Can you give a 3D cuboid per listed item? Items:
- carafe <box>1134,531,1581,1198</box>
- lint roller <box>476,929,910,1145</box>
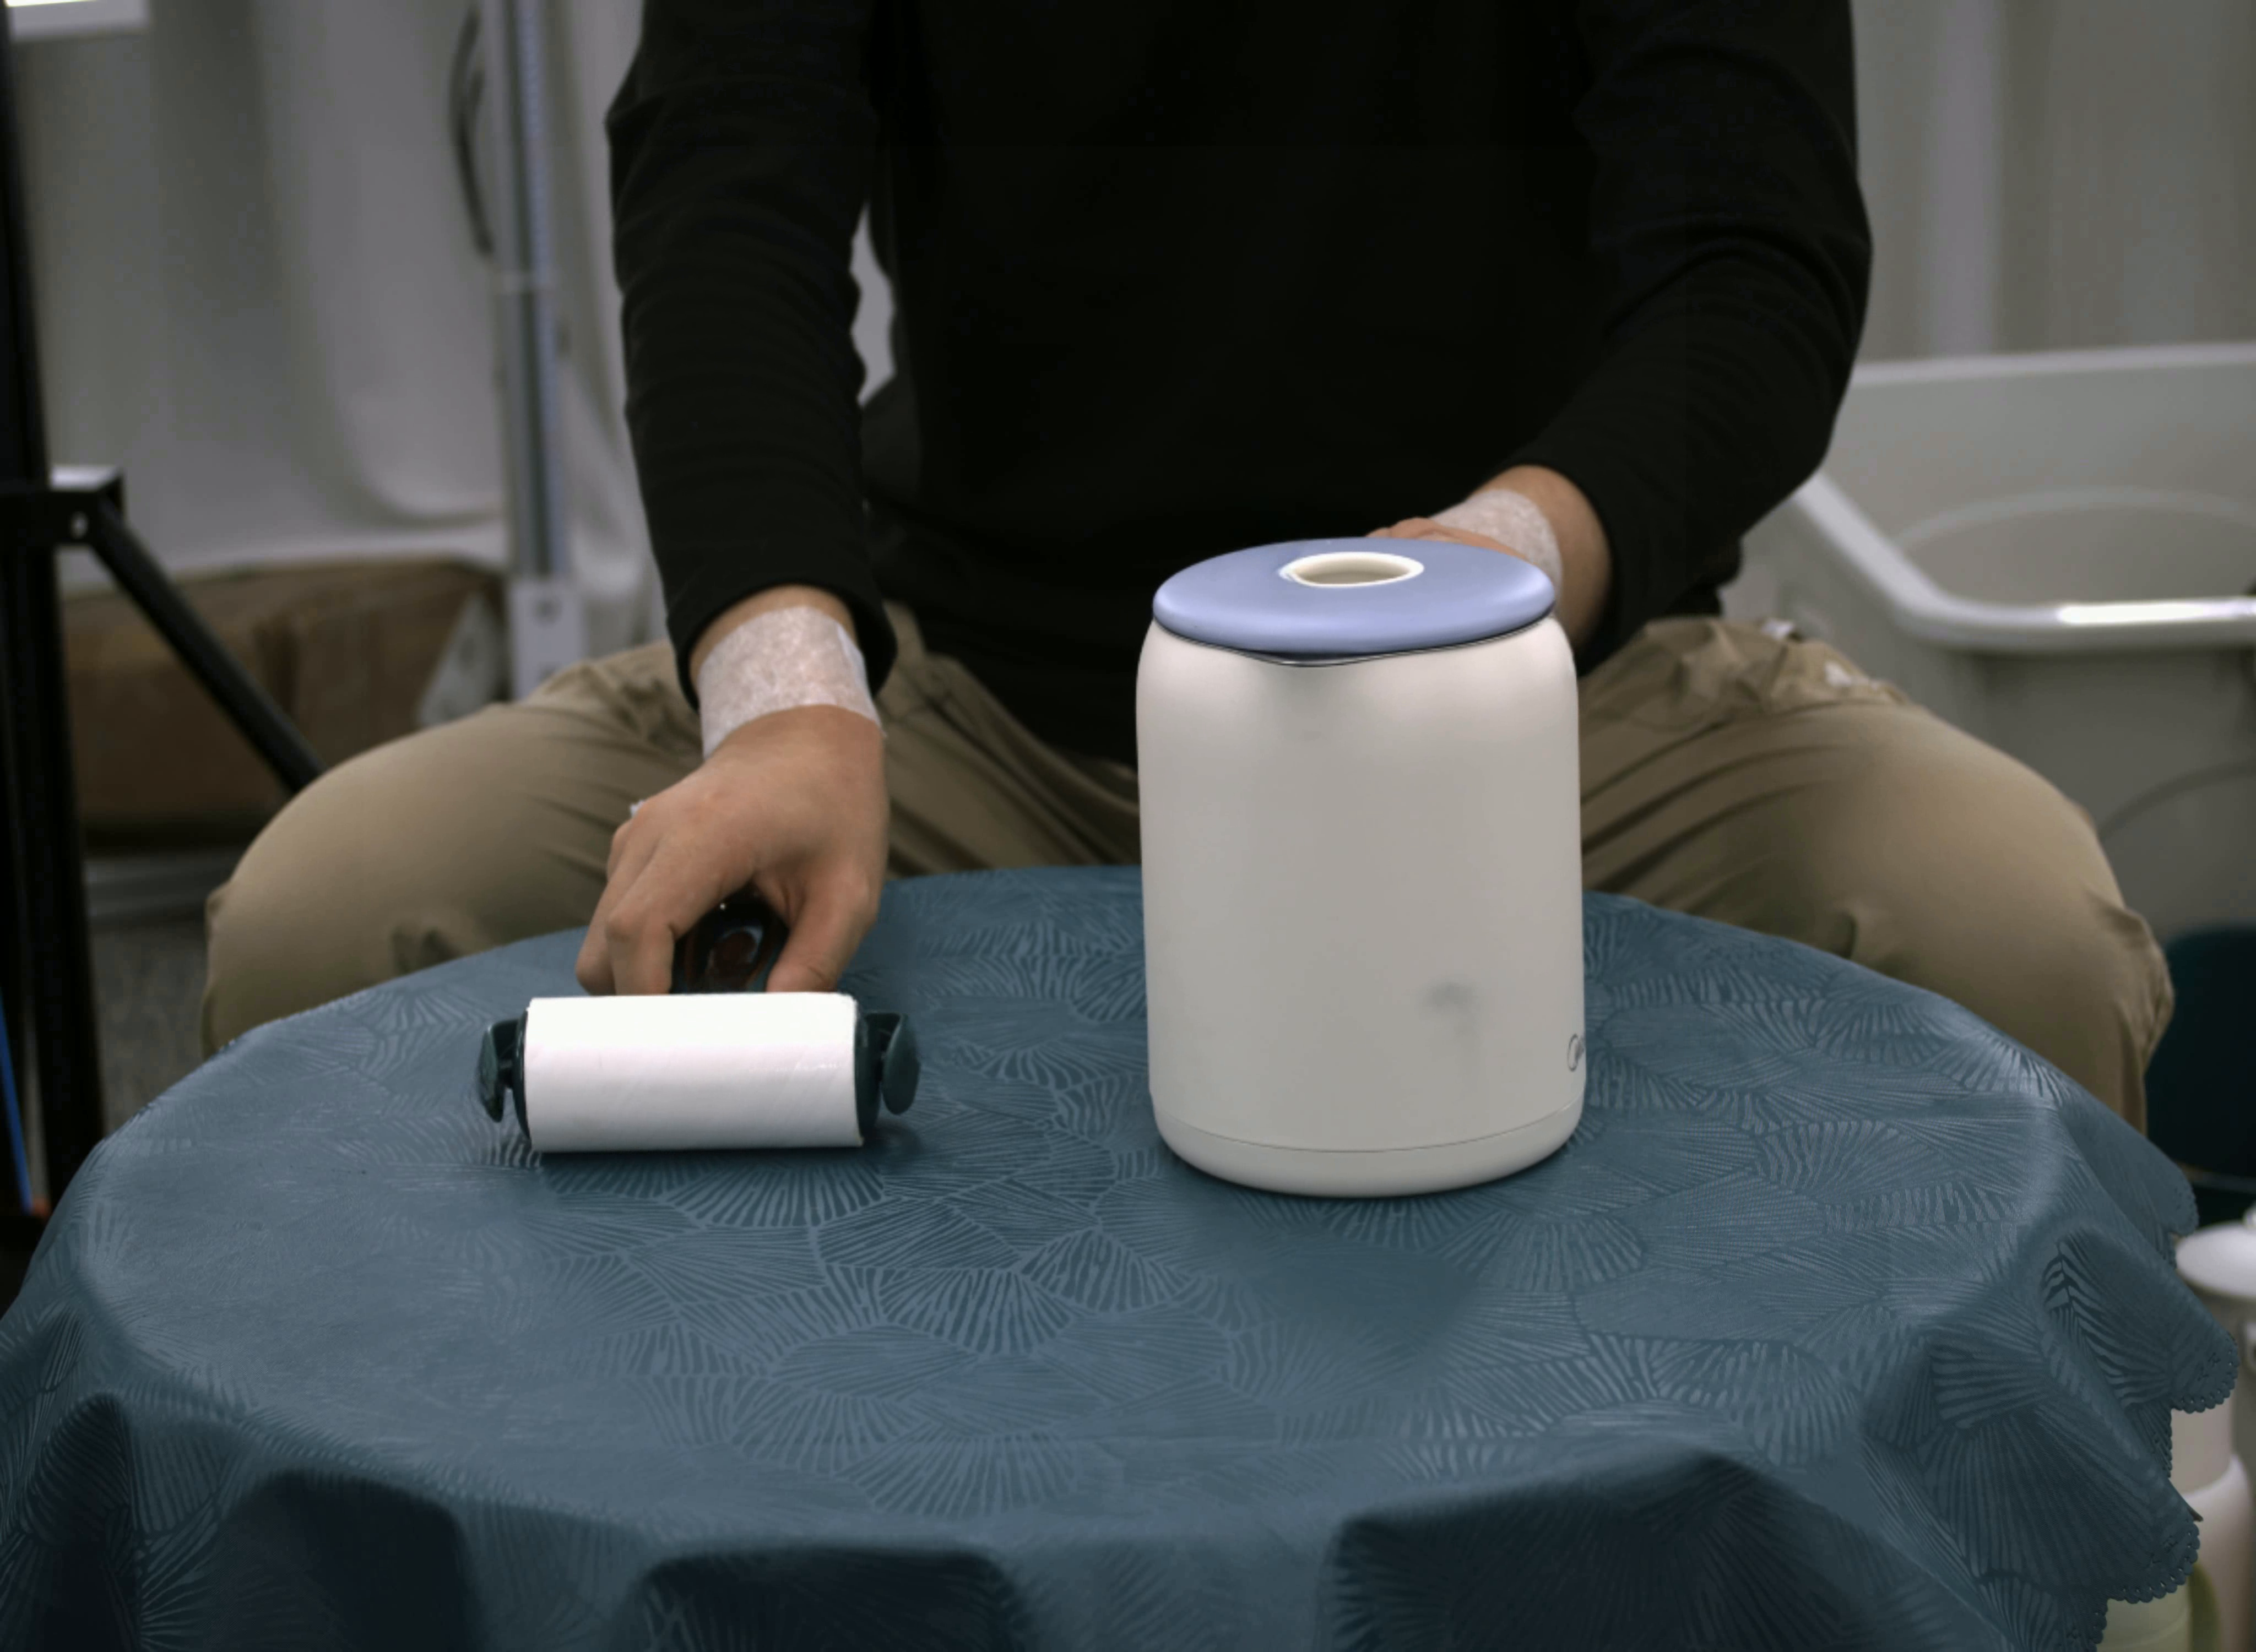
[{"bbox_3d":[0.074,0.004,1.597,0.133,0.182,0.189,2,14,14],"label":"carafe"},{"bbox_3d":[-0.130,0.049,1.675,0.134,0.048,0.181,-2,21,3],"label":"lint roller"}]
